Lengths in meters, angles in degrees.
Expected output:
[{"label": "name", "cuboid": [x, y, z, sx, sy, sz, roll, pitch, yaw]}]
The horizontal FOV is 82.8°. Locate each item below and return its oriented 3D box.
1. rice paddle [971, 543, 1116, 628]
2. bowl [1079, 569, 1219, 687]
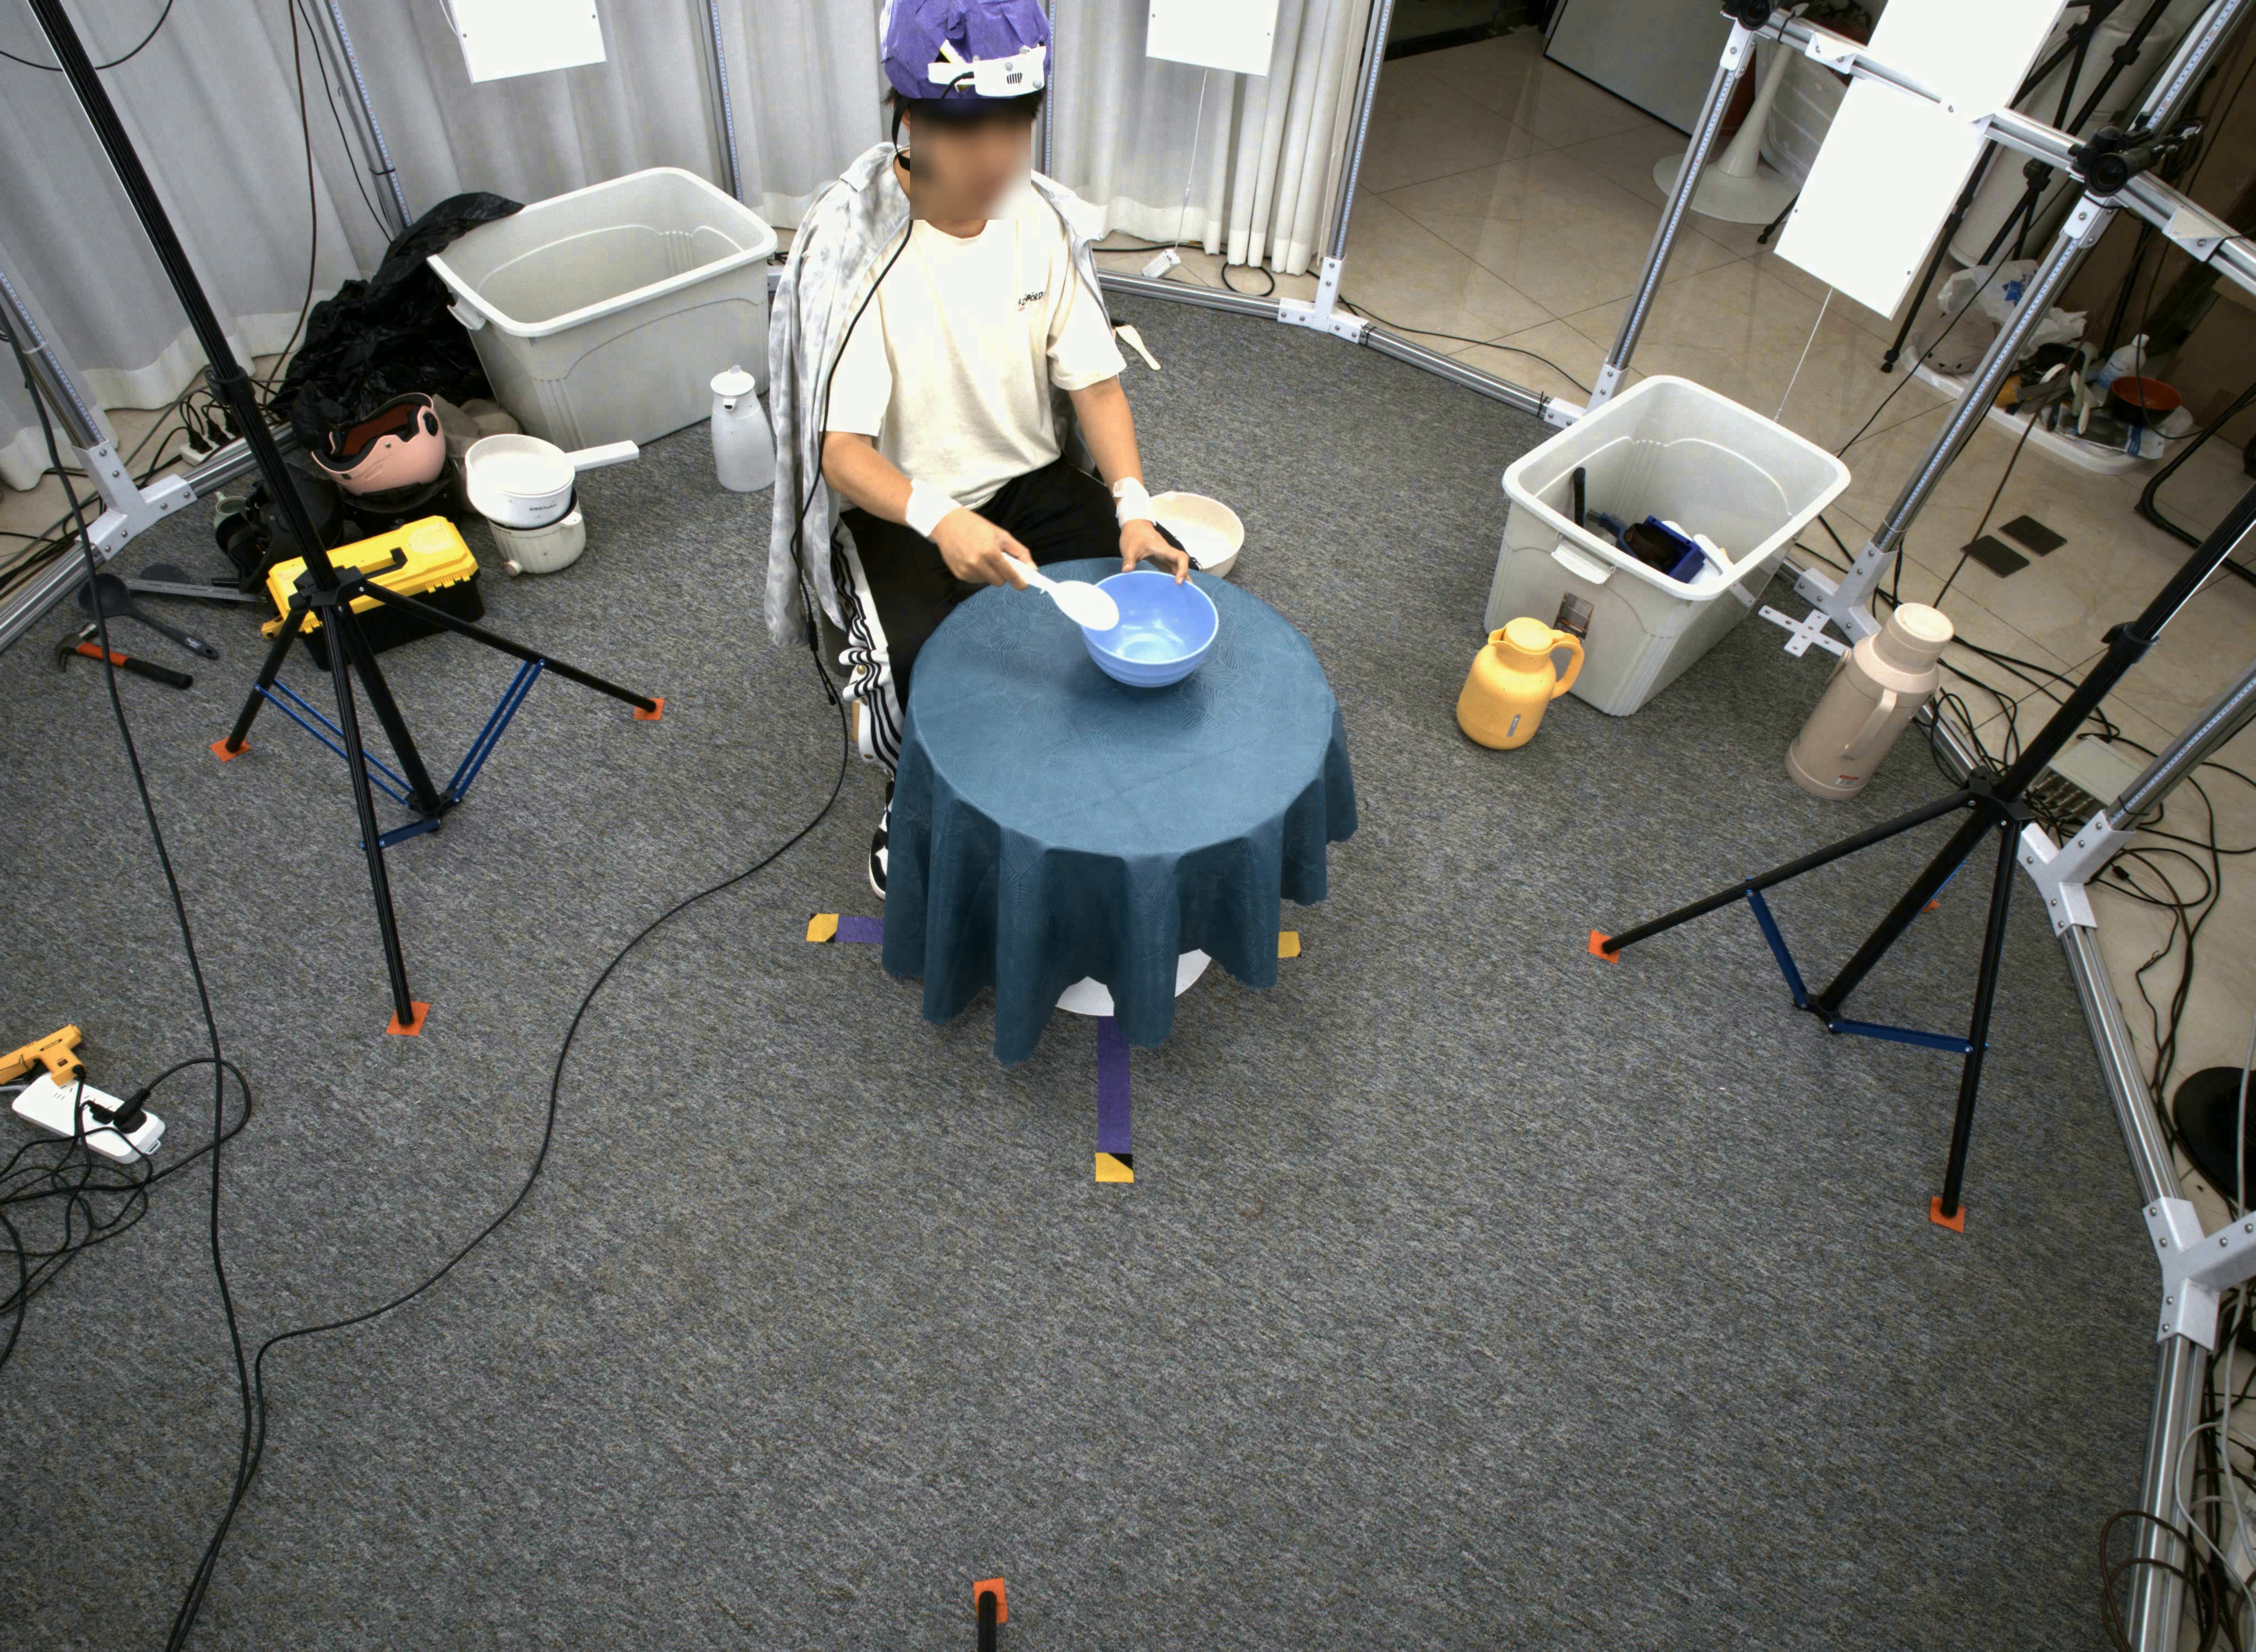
[{"label": "rice paddle", "cuboid": [-0.108, -0.321, 1.718, 0.204, 0.029, 0.070, 23, 59, -11]}, {"label": "bowl", "cuboid": [0.027, -0.267, 1.833, 0.196, 0.093, 0.201, 2, 50, -3]}]
